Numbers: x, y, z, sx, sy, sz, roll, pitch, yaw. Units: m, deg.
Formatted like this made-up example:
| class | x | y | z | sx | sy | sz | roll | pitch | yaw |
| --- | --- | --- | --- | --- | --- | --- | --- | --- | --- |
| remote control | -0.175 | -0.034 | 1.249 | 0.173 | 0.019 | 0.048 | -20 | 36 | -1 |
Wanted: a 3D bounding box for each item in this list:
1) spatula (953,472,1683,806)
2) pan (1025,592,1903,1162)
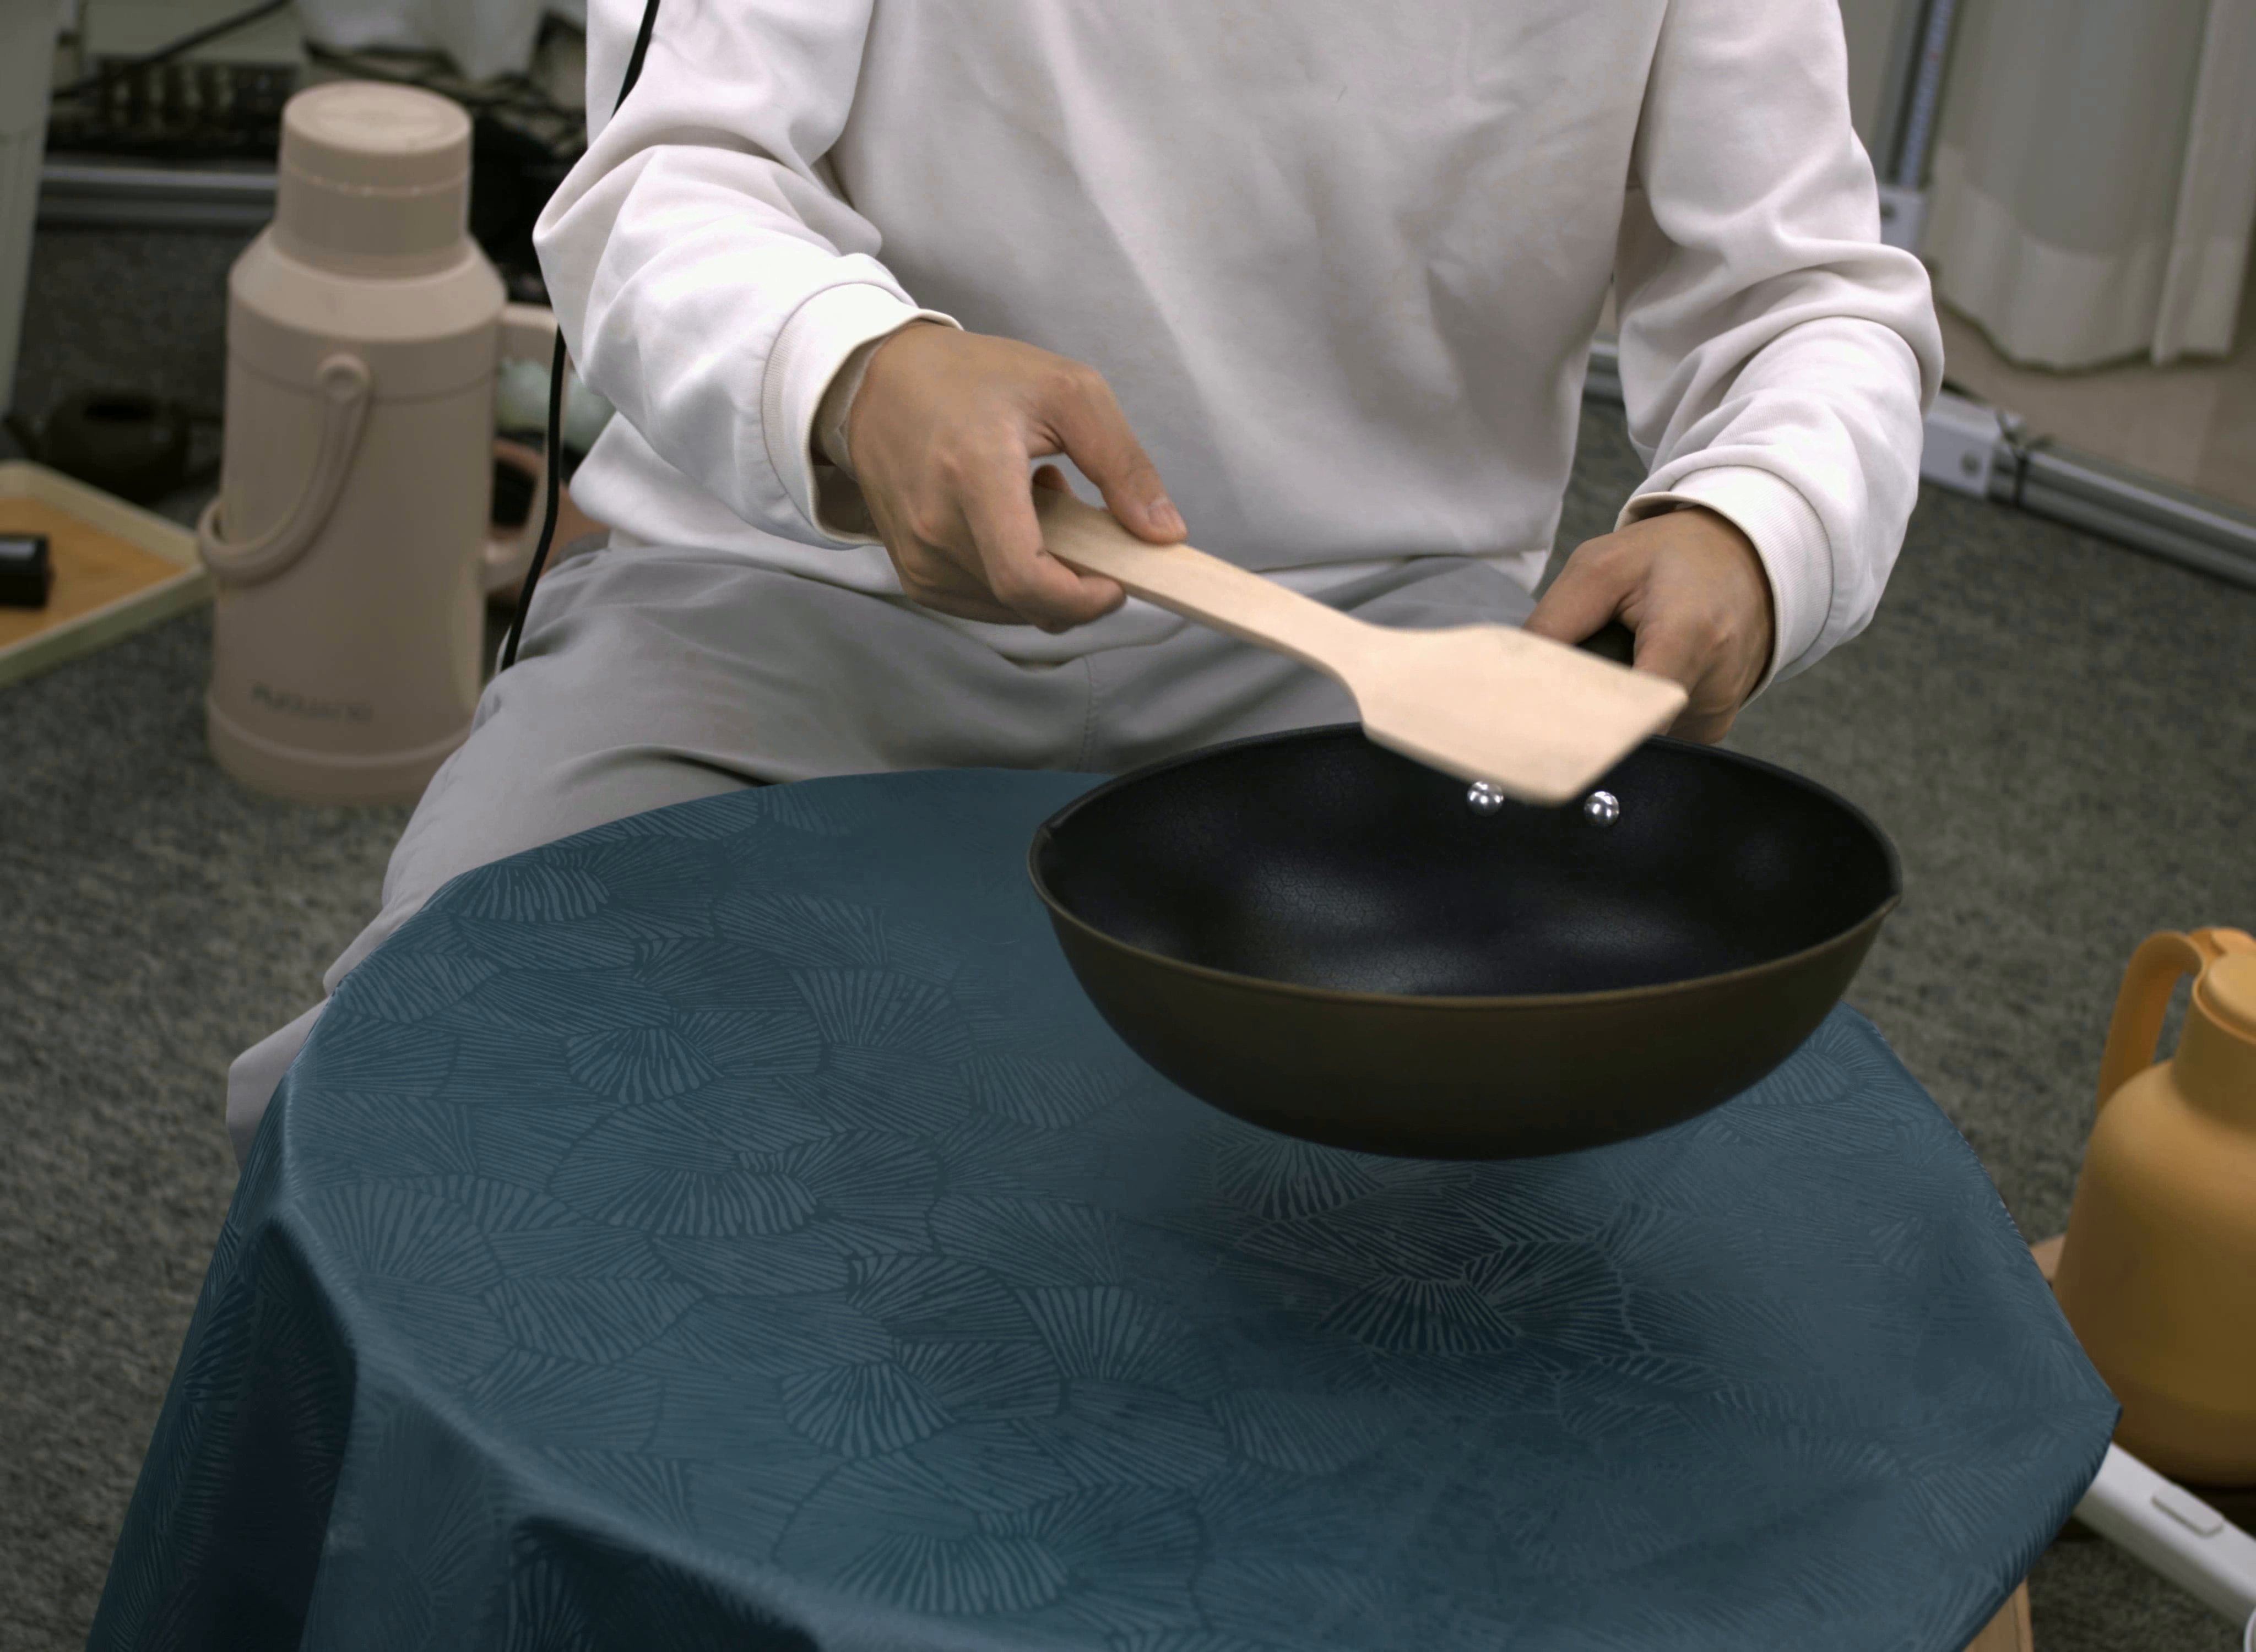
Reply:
| class | x | y | z | sx | sy | sz | roll | pitch | yaw |
| --- | --- | --- | --- | --- | --- | --- | --- | --- | --- |
| spatula | 0.051 | -0.069 | 1.791 | 0.295 | 0.010 | 0.072 | 24 | 47 | 36 |
| pan | 0.134 | 0.016 | 1.822 | 0.288 | 0.087 | 0.463 | 5 | 19 | 16 |
